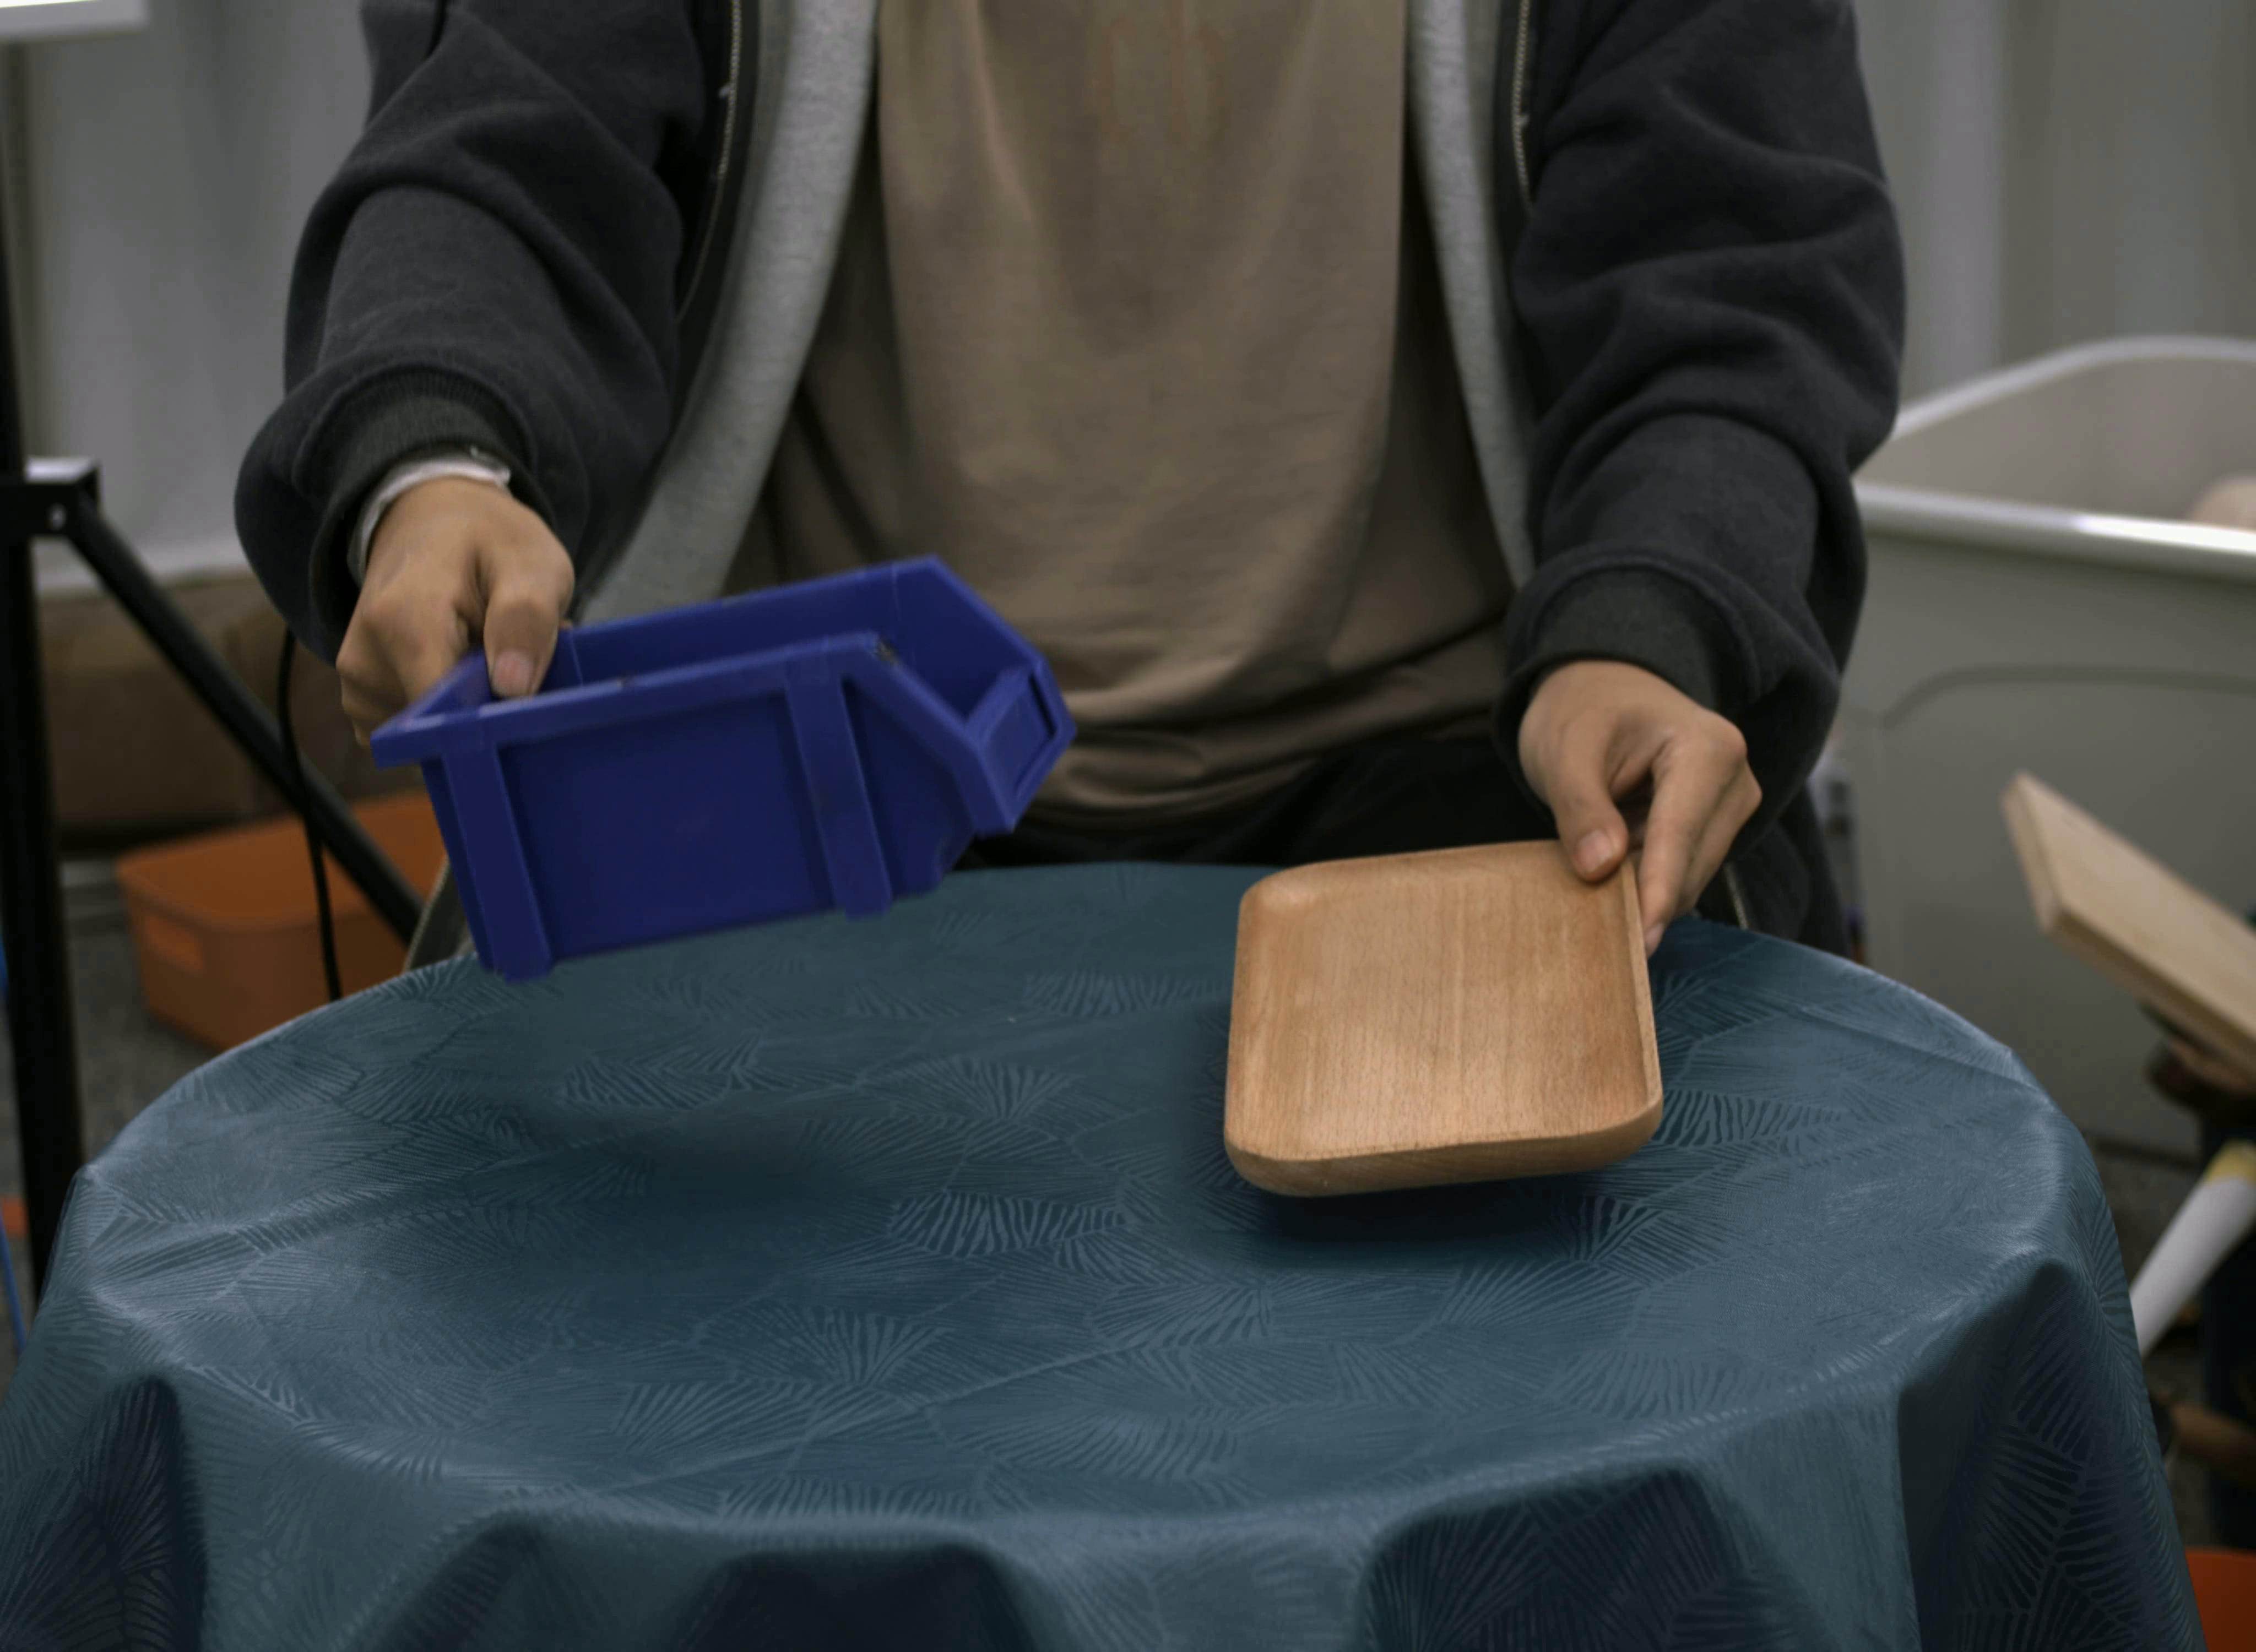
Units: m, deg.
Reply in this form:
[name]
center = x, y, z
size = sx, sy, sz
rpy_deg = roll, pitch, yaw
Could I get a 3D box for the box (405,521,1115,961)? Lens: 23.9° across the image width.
[box]
center = -0.104, -0.028, 1.586
size = 0.180, 0.082, 0.124
rpy_deg = -14, 11, 16

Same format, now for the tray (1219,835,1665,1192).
[tray]
center = 0.094, 0.054, 1.608
size = 0.130, 0.023, 0.251
rpy_deg = -3, 18, 5
